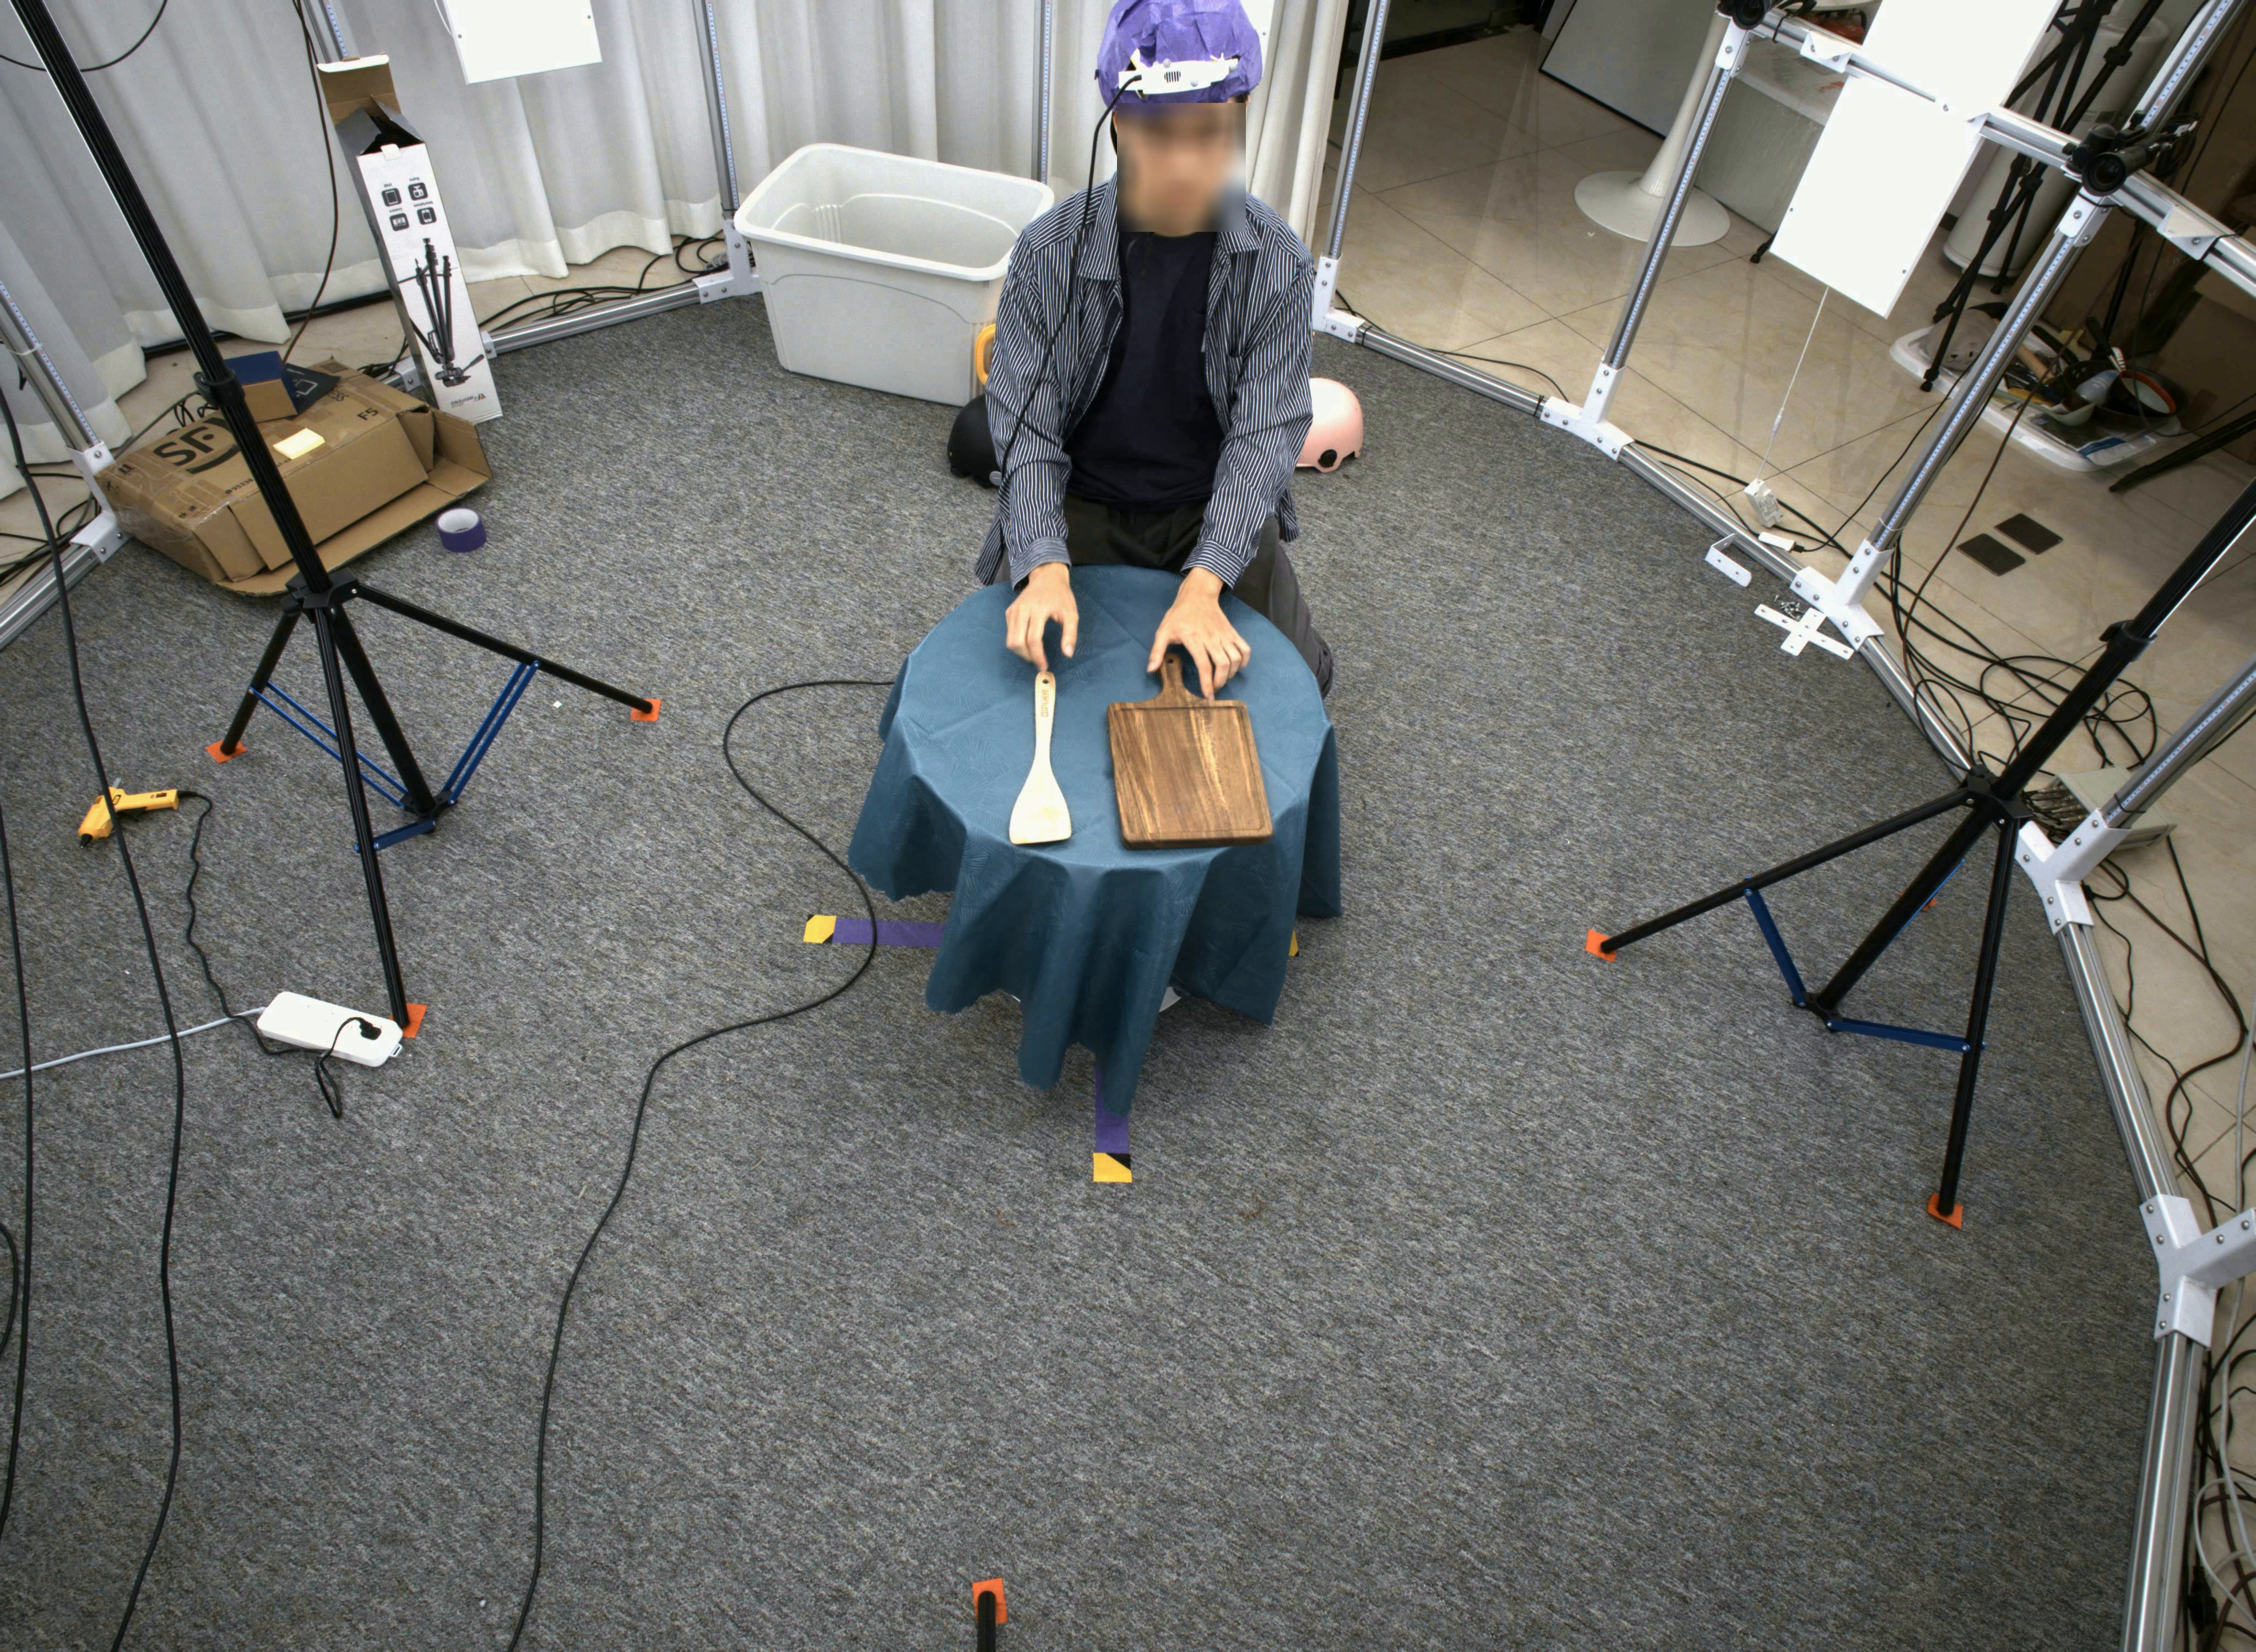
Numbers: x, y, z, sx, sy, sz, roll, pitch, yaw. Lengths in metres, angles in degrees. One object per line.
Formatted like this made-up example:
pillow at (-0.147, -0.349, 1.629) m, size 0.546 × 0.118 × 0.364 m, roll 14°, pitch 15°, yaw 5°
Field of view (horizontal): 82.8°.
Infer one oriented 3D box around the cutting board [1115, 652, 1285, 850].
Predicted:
cutting board at (0.087, -0.111, 1.749) m, size 0.201 × 0.022 × 0.361 m, roll -1°, pitch 49°, yaw -6°

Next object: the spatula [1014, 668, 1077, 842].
spatula at (-0.111, -0.101, 1.725) m, size 0.080 × 0.016 × 0.336 m, roll 1°, pitch 49°, yaw -5°
